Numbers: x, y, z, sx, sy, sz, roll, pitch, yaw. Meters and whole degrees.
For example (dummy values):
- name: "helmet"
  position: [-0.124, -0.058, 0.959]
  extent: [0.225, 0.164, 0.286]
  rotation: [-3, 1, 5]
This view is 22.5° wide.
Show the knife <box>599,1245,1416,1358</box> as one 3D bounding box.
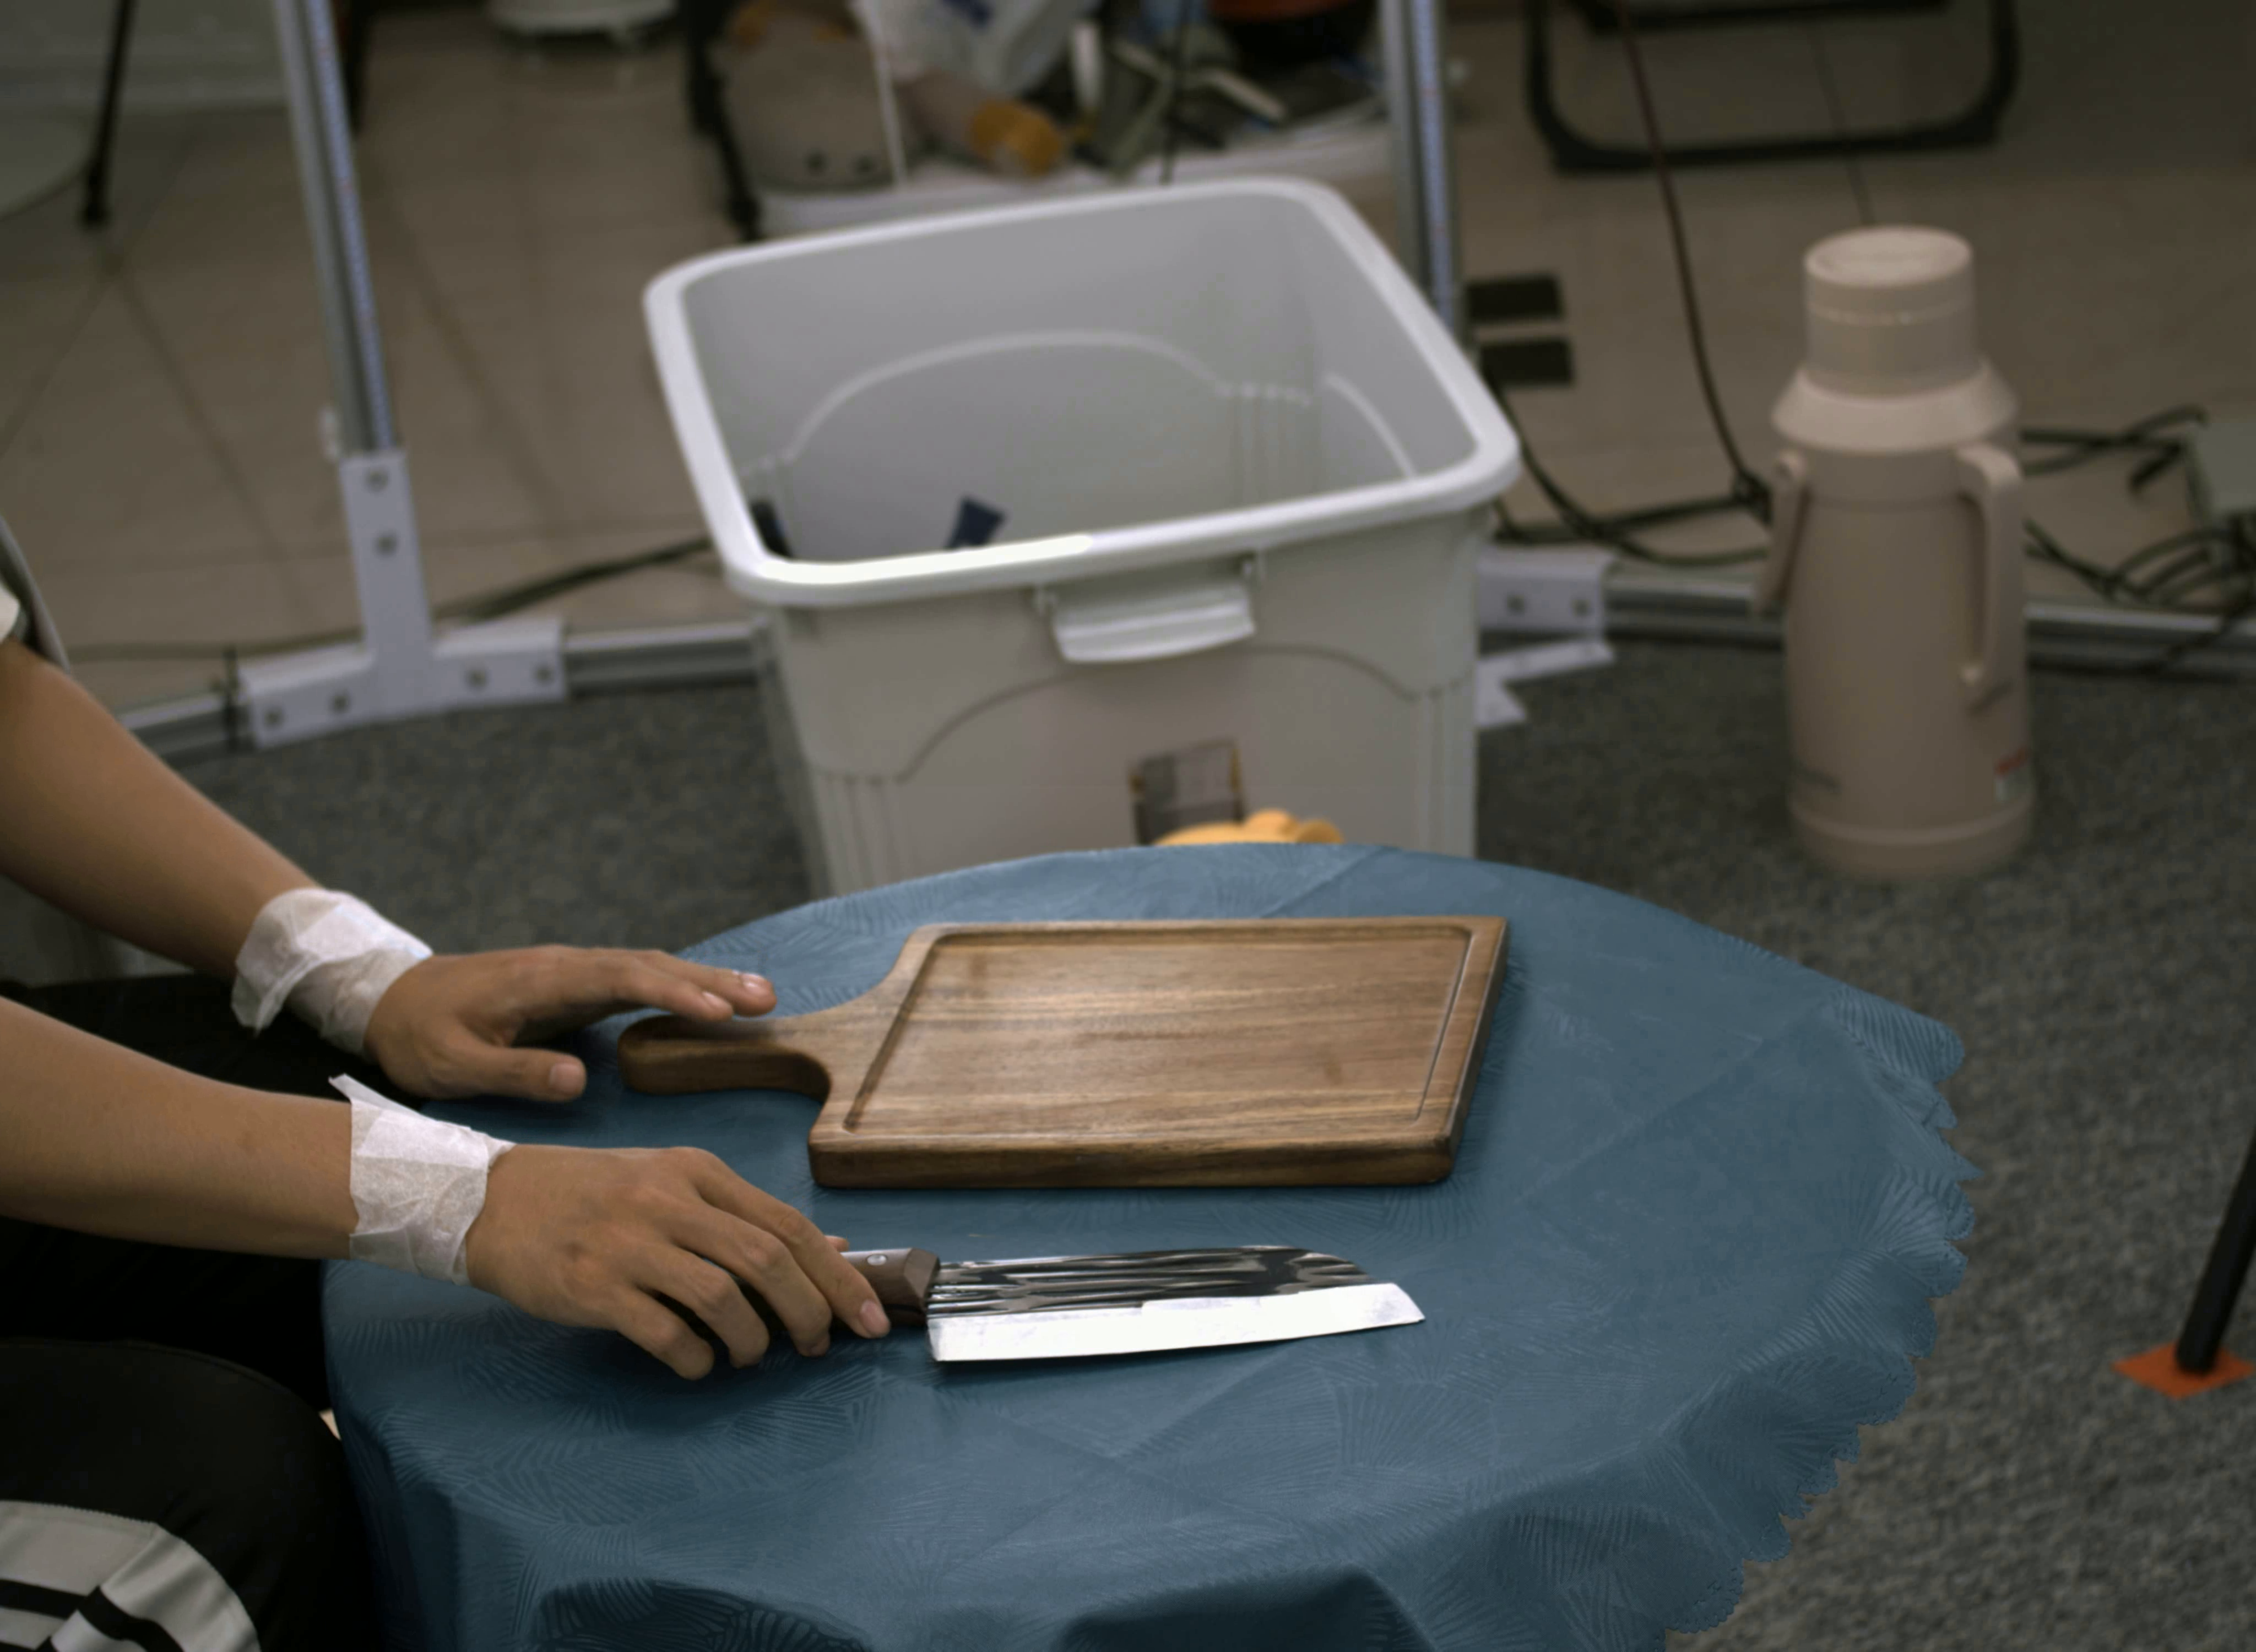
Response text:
- name: "knife"
  position: [-0.046, 0.174, 2.064]
  extent: [0.299, 0.024, 0.067]
  rotation: [-3, 27, 2]

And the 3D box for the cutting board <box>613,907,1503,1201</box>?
- name: "cutting board"
  position: [-0.033, 0.090, 2.246]
  extent: [0.351, 0.023, 0.198]
  rotation: [-2, 27, 12]
